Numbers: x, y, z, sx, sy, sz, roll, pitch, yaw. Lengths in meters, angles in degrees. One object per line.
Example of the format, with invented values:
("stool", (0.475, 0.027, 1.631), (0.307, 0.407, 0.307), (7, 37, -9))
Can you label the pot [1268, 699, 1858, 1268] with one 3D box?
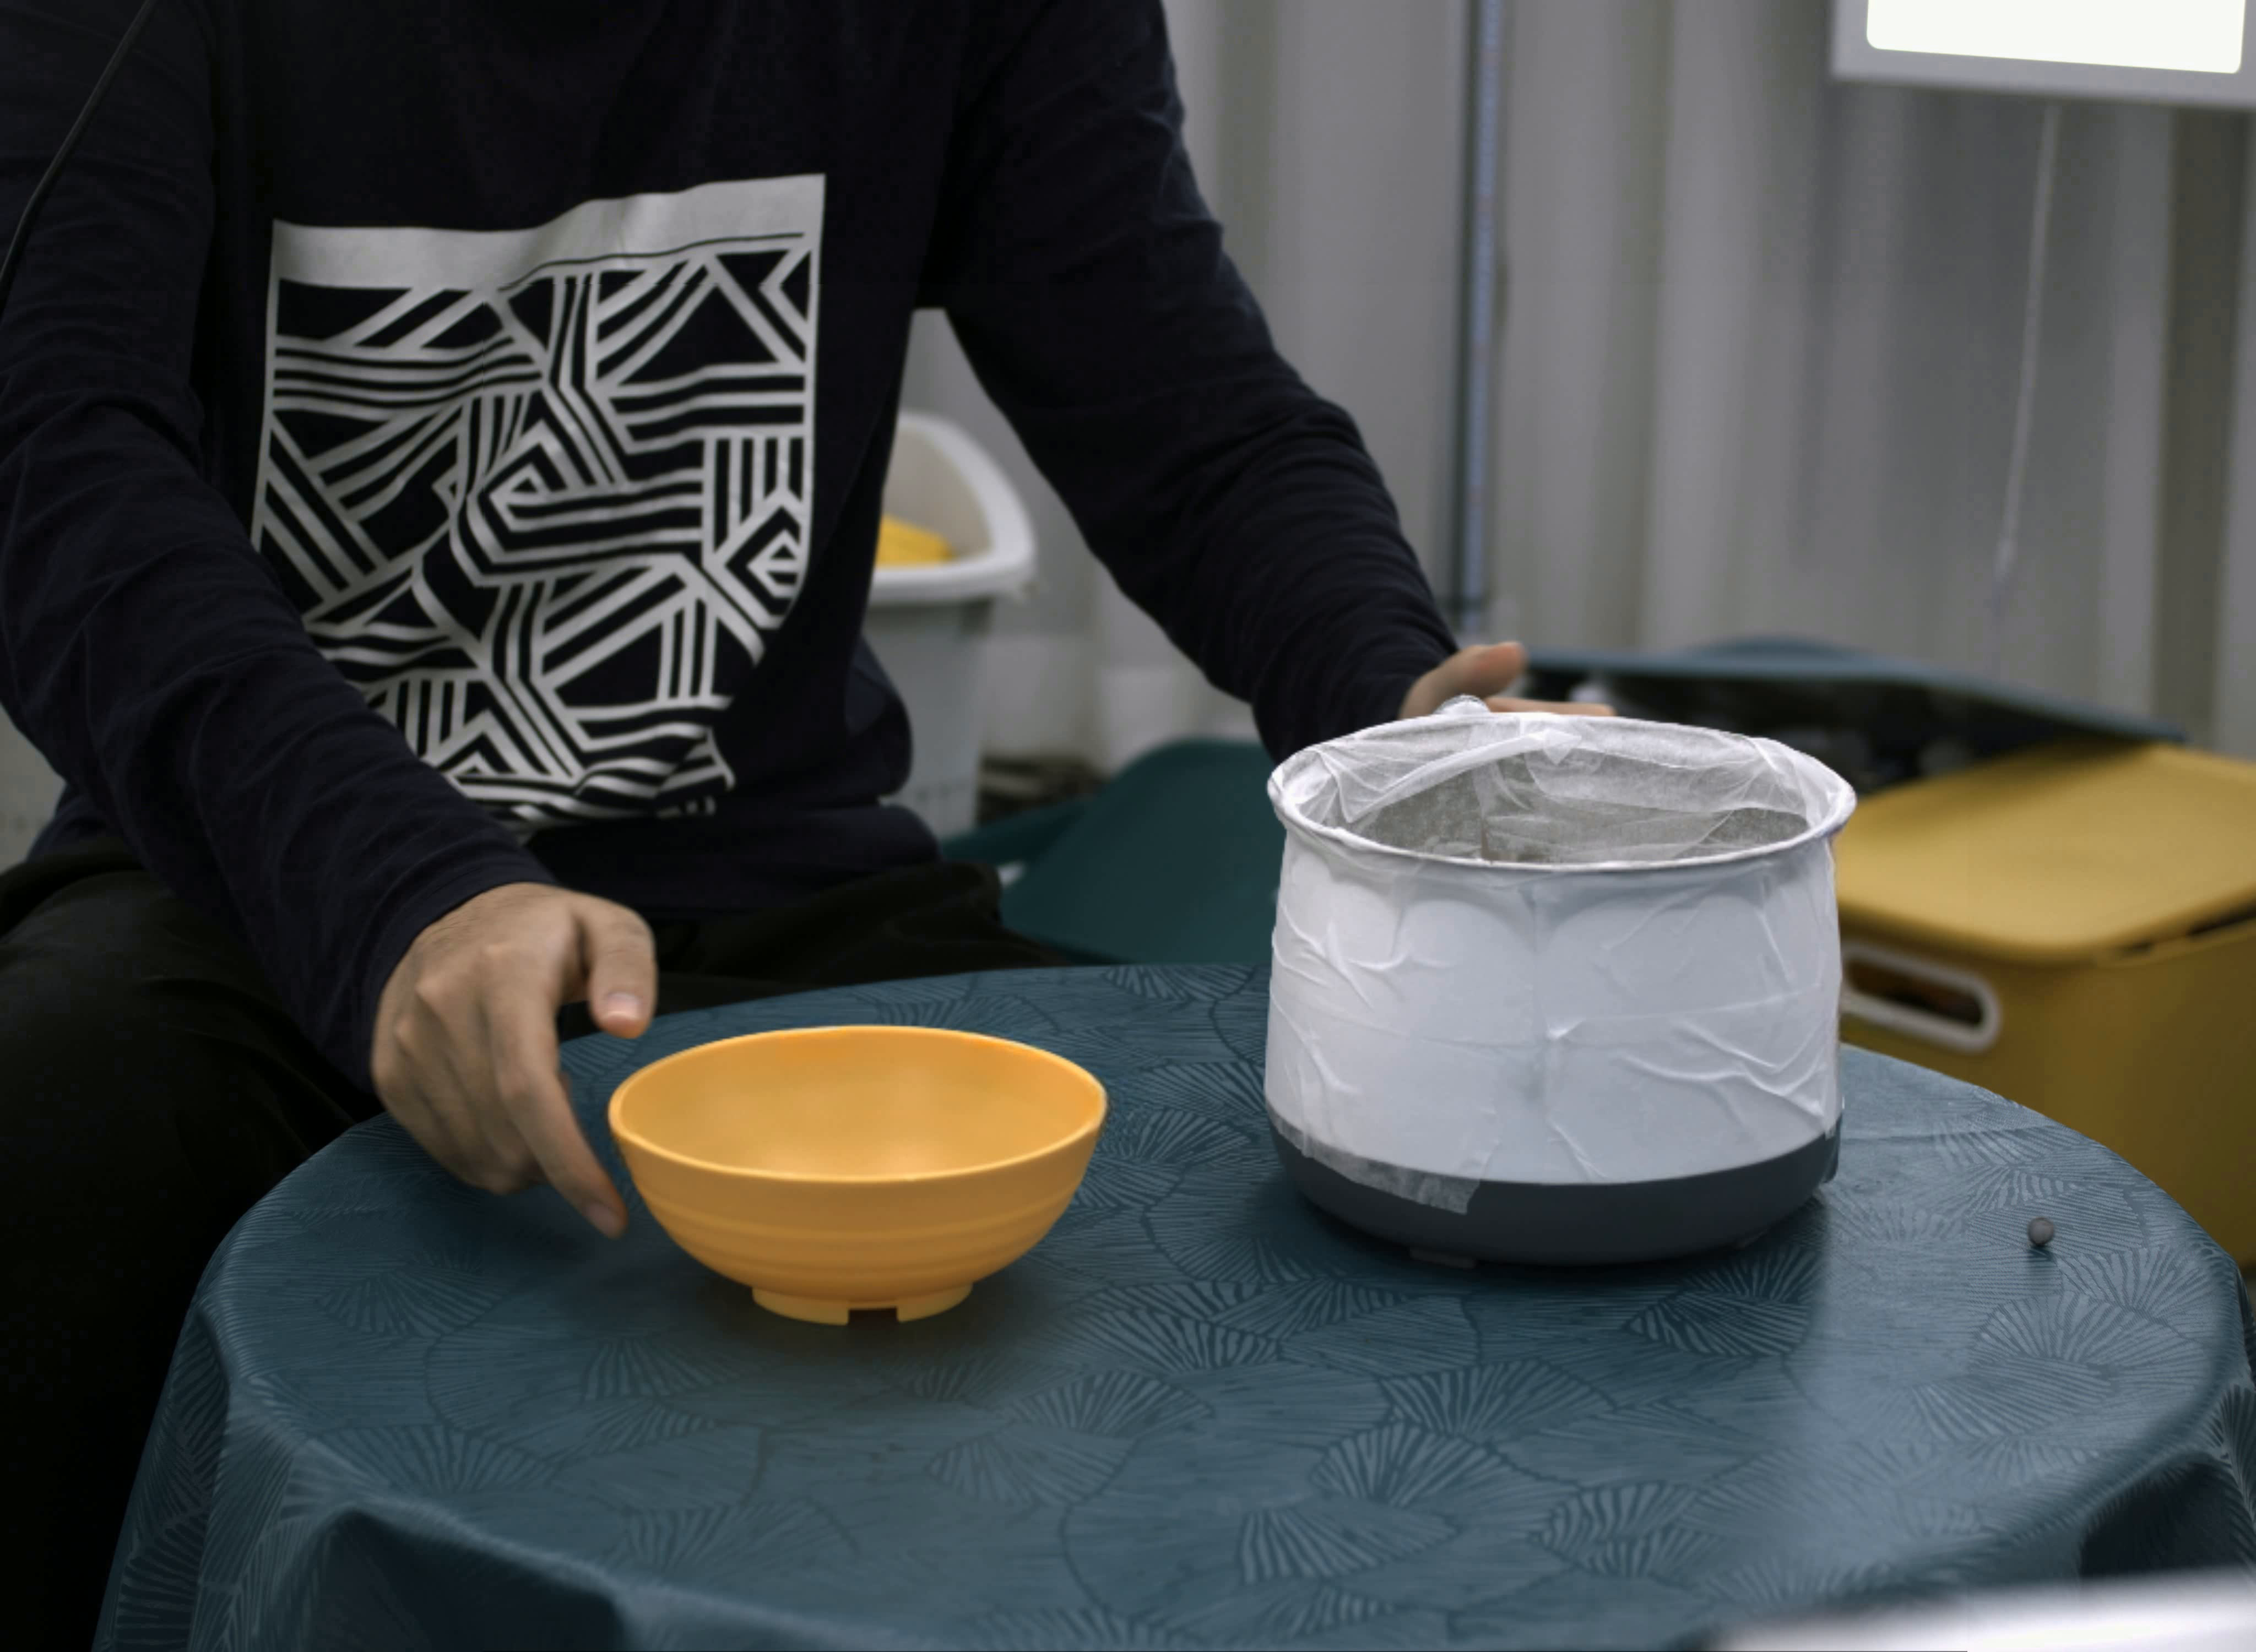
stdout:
("pot", (0.124, 0.043, 1.627), (0.179, 0.137, 0.231), (-3, 15, -14))

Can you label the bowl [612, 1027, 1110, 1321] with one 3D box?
("bowl", (-0.076, 0.106, 1.529), (0.145, 0.060, 0.144), (-1, 14, 1))
